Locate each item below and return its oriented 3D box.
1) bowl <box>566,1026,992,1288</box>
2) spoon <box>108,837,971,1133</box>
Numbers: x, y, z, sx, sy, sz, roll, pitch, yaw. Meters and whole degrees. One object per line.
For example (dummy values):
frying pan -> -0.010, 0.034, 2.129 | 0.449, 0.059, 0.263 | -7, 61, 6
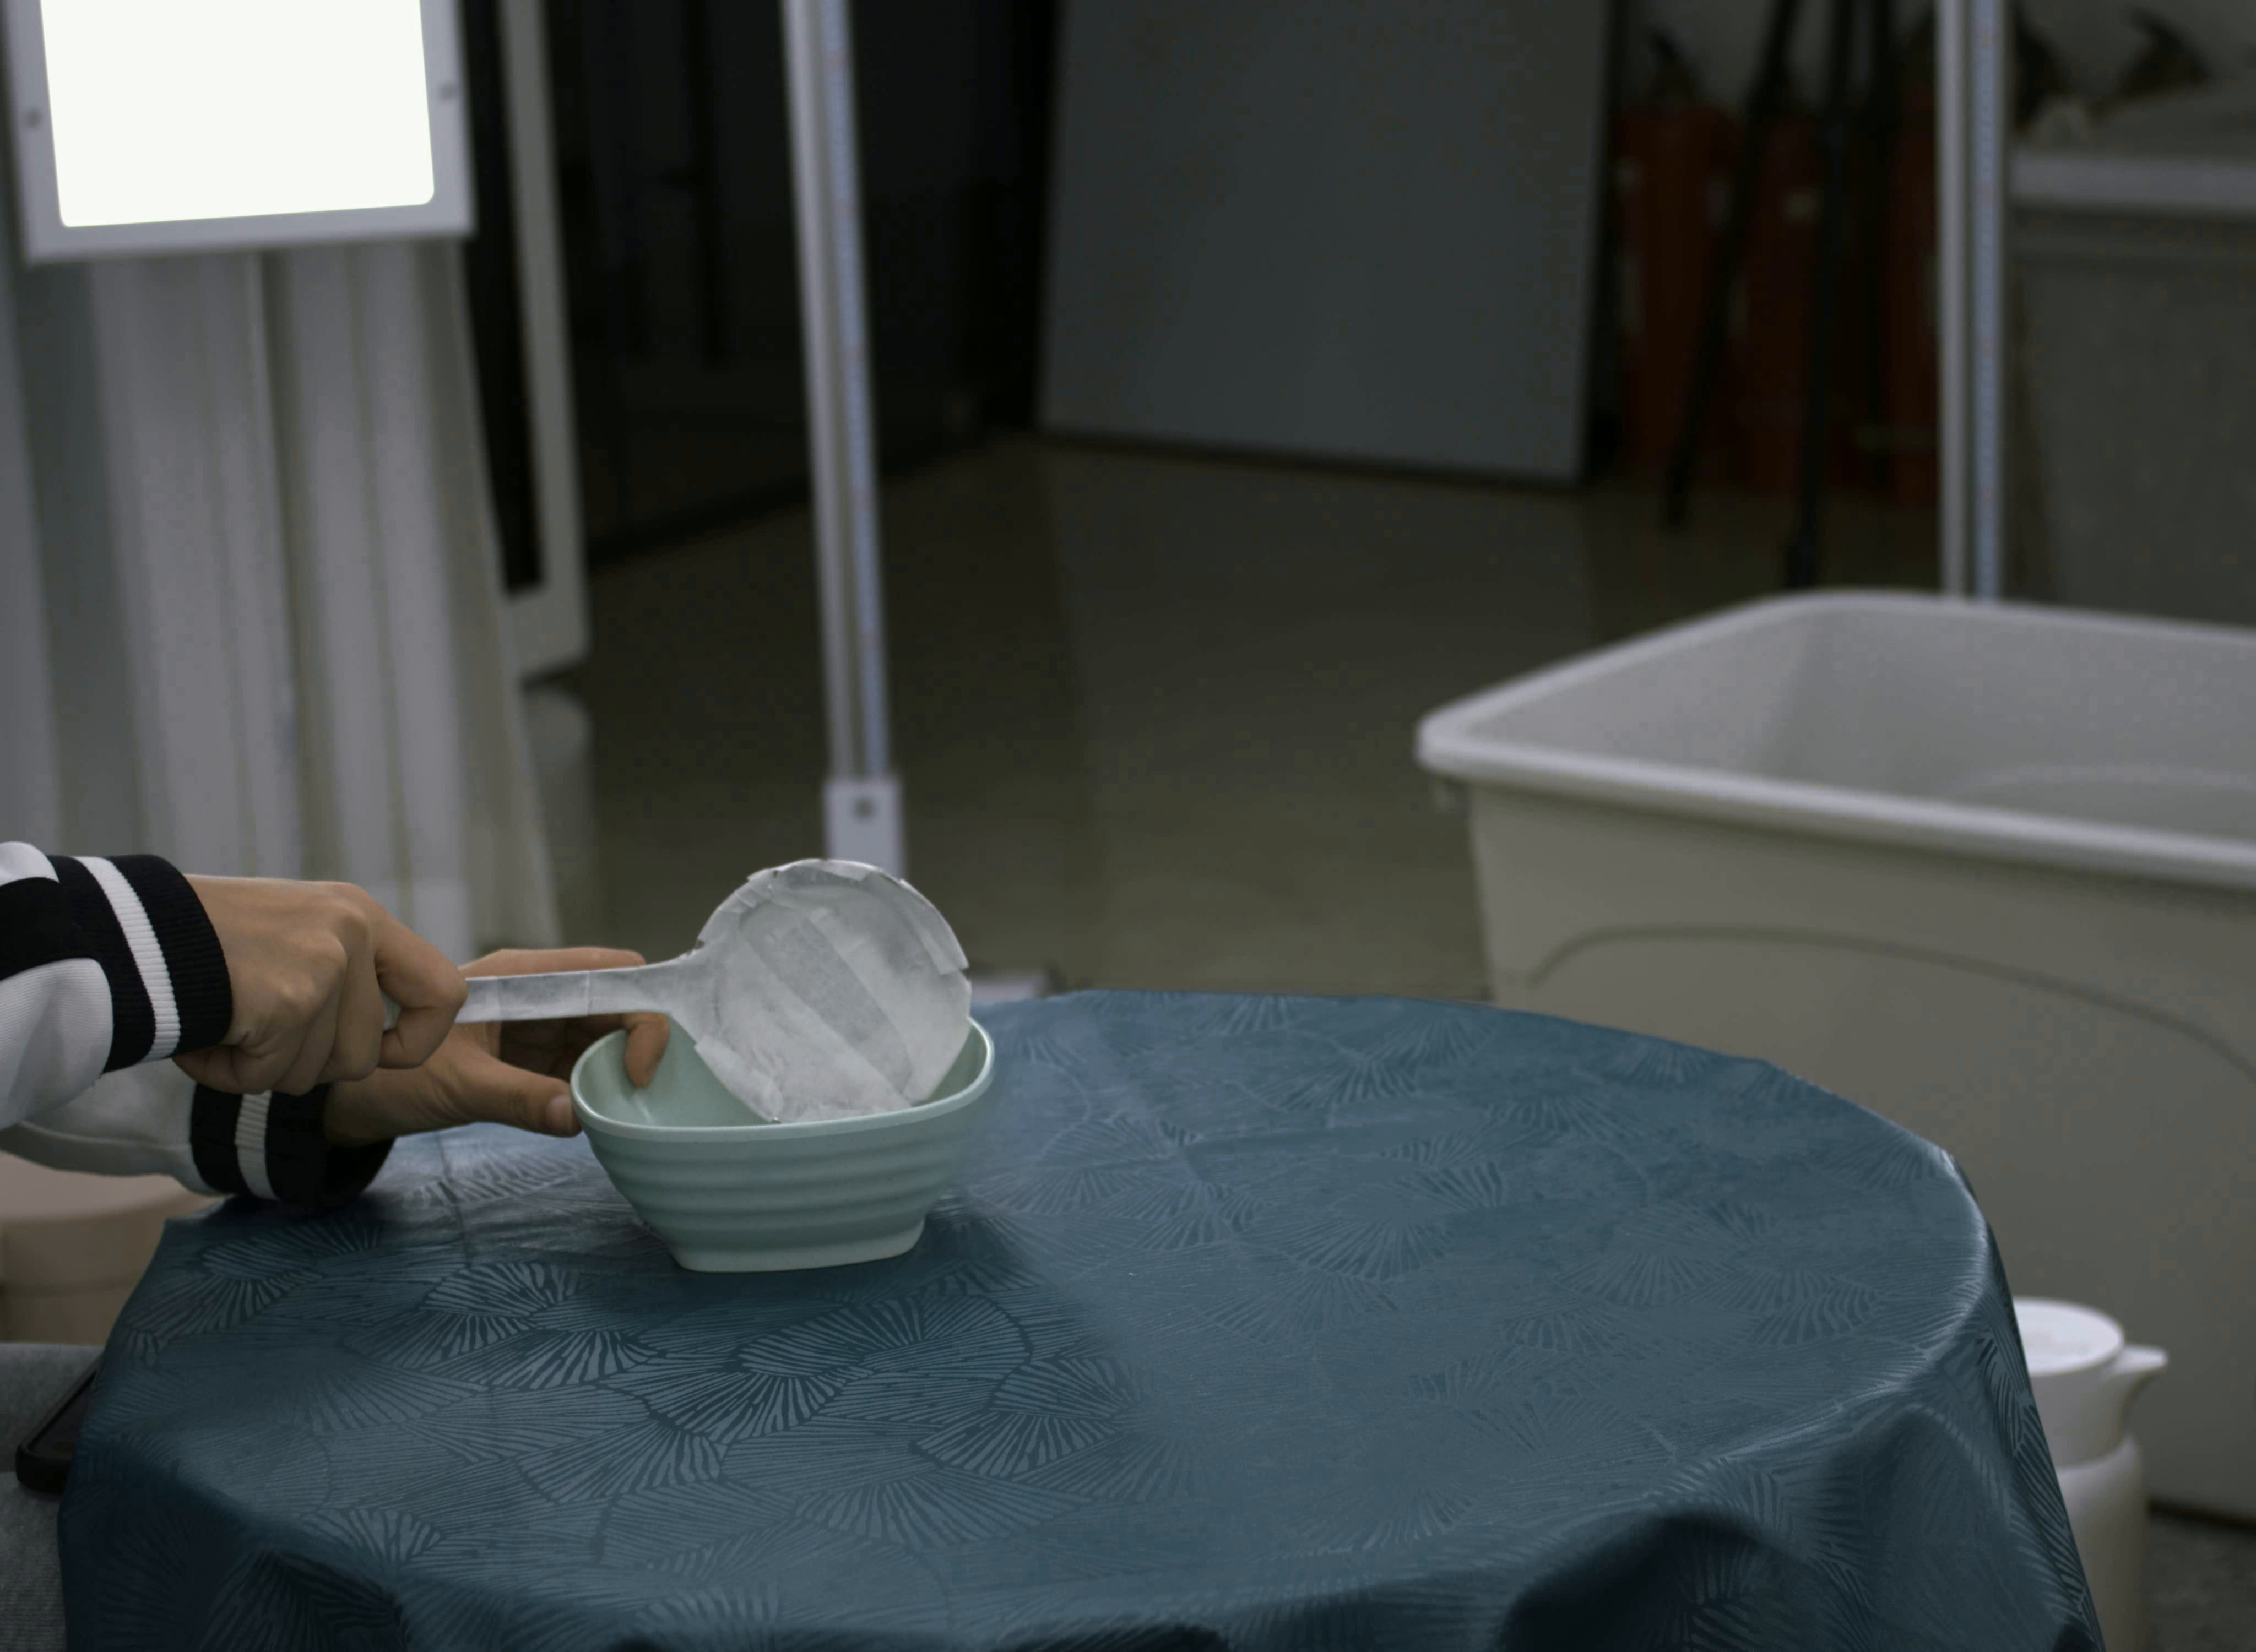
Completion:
bowl -> -0.111, 0.108, 1.748 | 0.149, 0.059, 0.151 | -4, 13, 0
spoon -> -0.181, 0.052, 1.703 | 0.271, 0.102, 0.060 | 1, 8, -31
